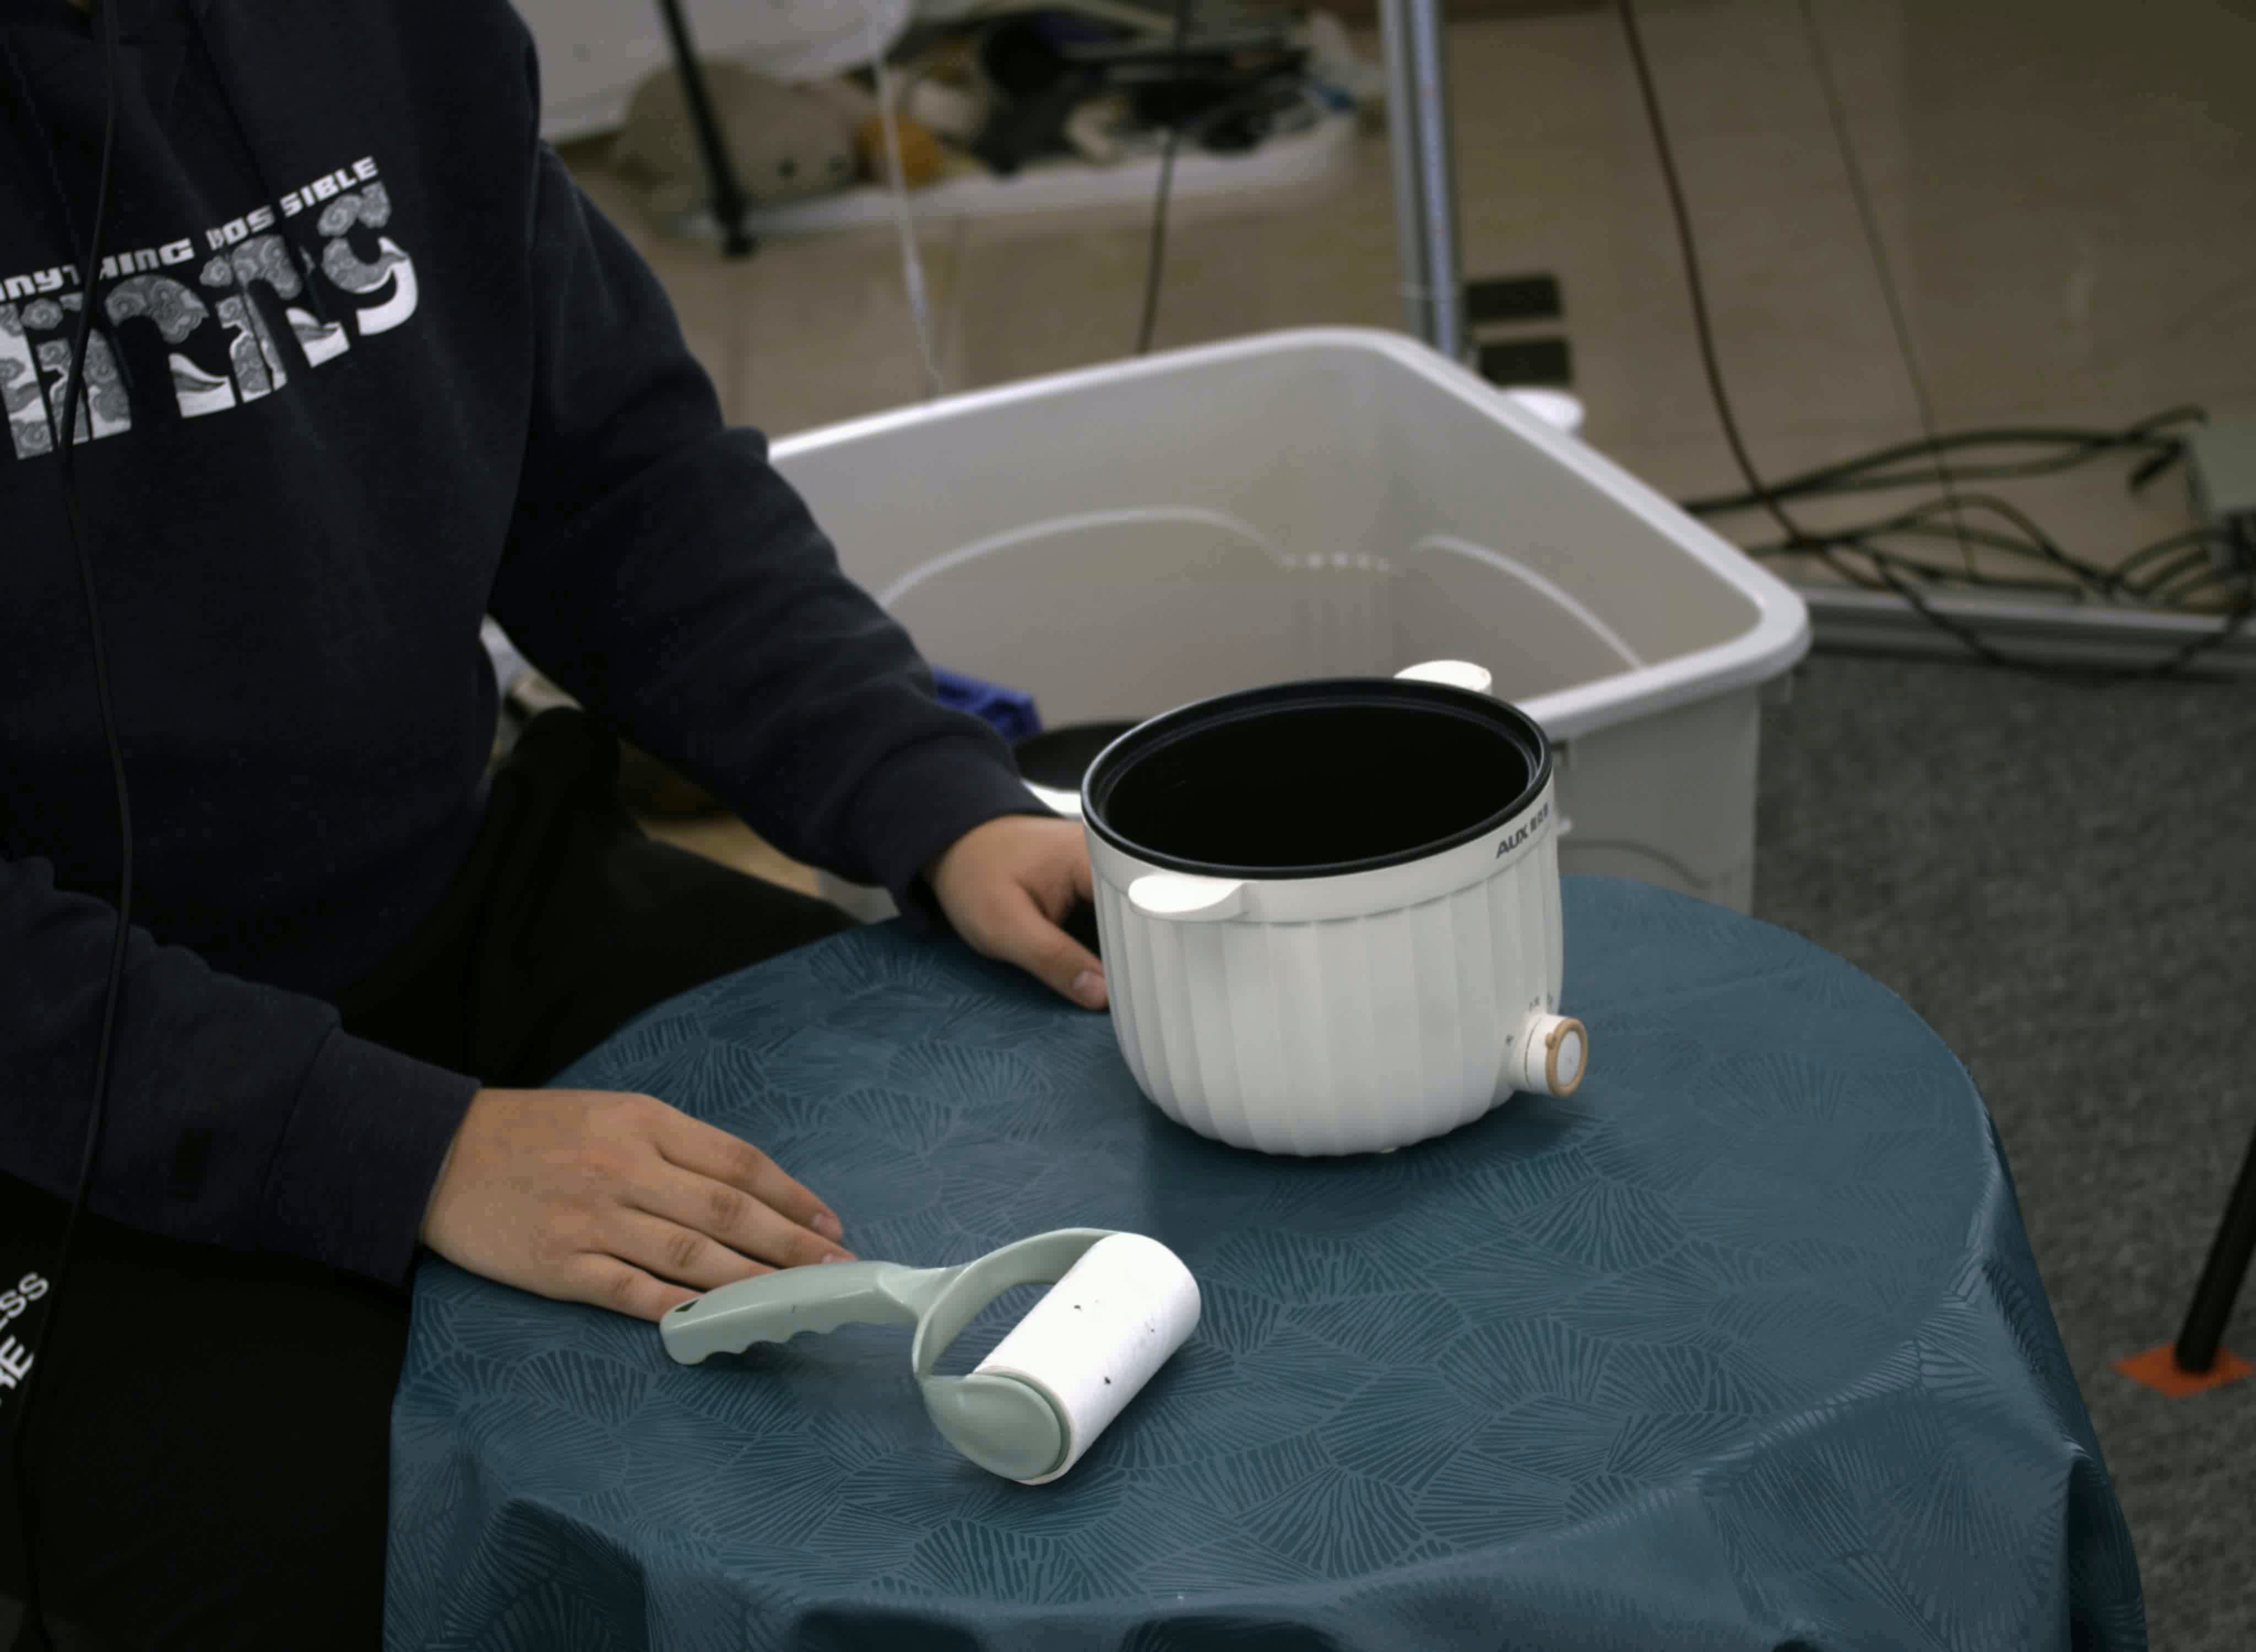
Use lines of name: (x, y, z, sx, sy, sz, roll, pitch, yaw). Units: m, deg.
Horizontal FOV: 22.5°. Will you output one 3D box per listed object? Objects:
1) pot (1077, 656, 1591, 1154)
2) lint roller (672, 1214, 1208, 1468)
pot: (0.083, 0.038, 2.179, 0.190, 0.145, 0.237, 6, 29, 31)
lint roller: (-0.078, 0.178, 2.031, 0.197, 0.049, 0.115, 4, 29, 27)
